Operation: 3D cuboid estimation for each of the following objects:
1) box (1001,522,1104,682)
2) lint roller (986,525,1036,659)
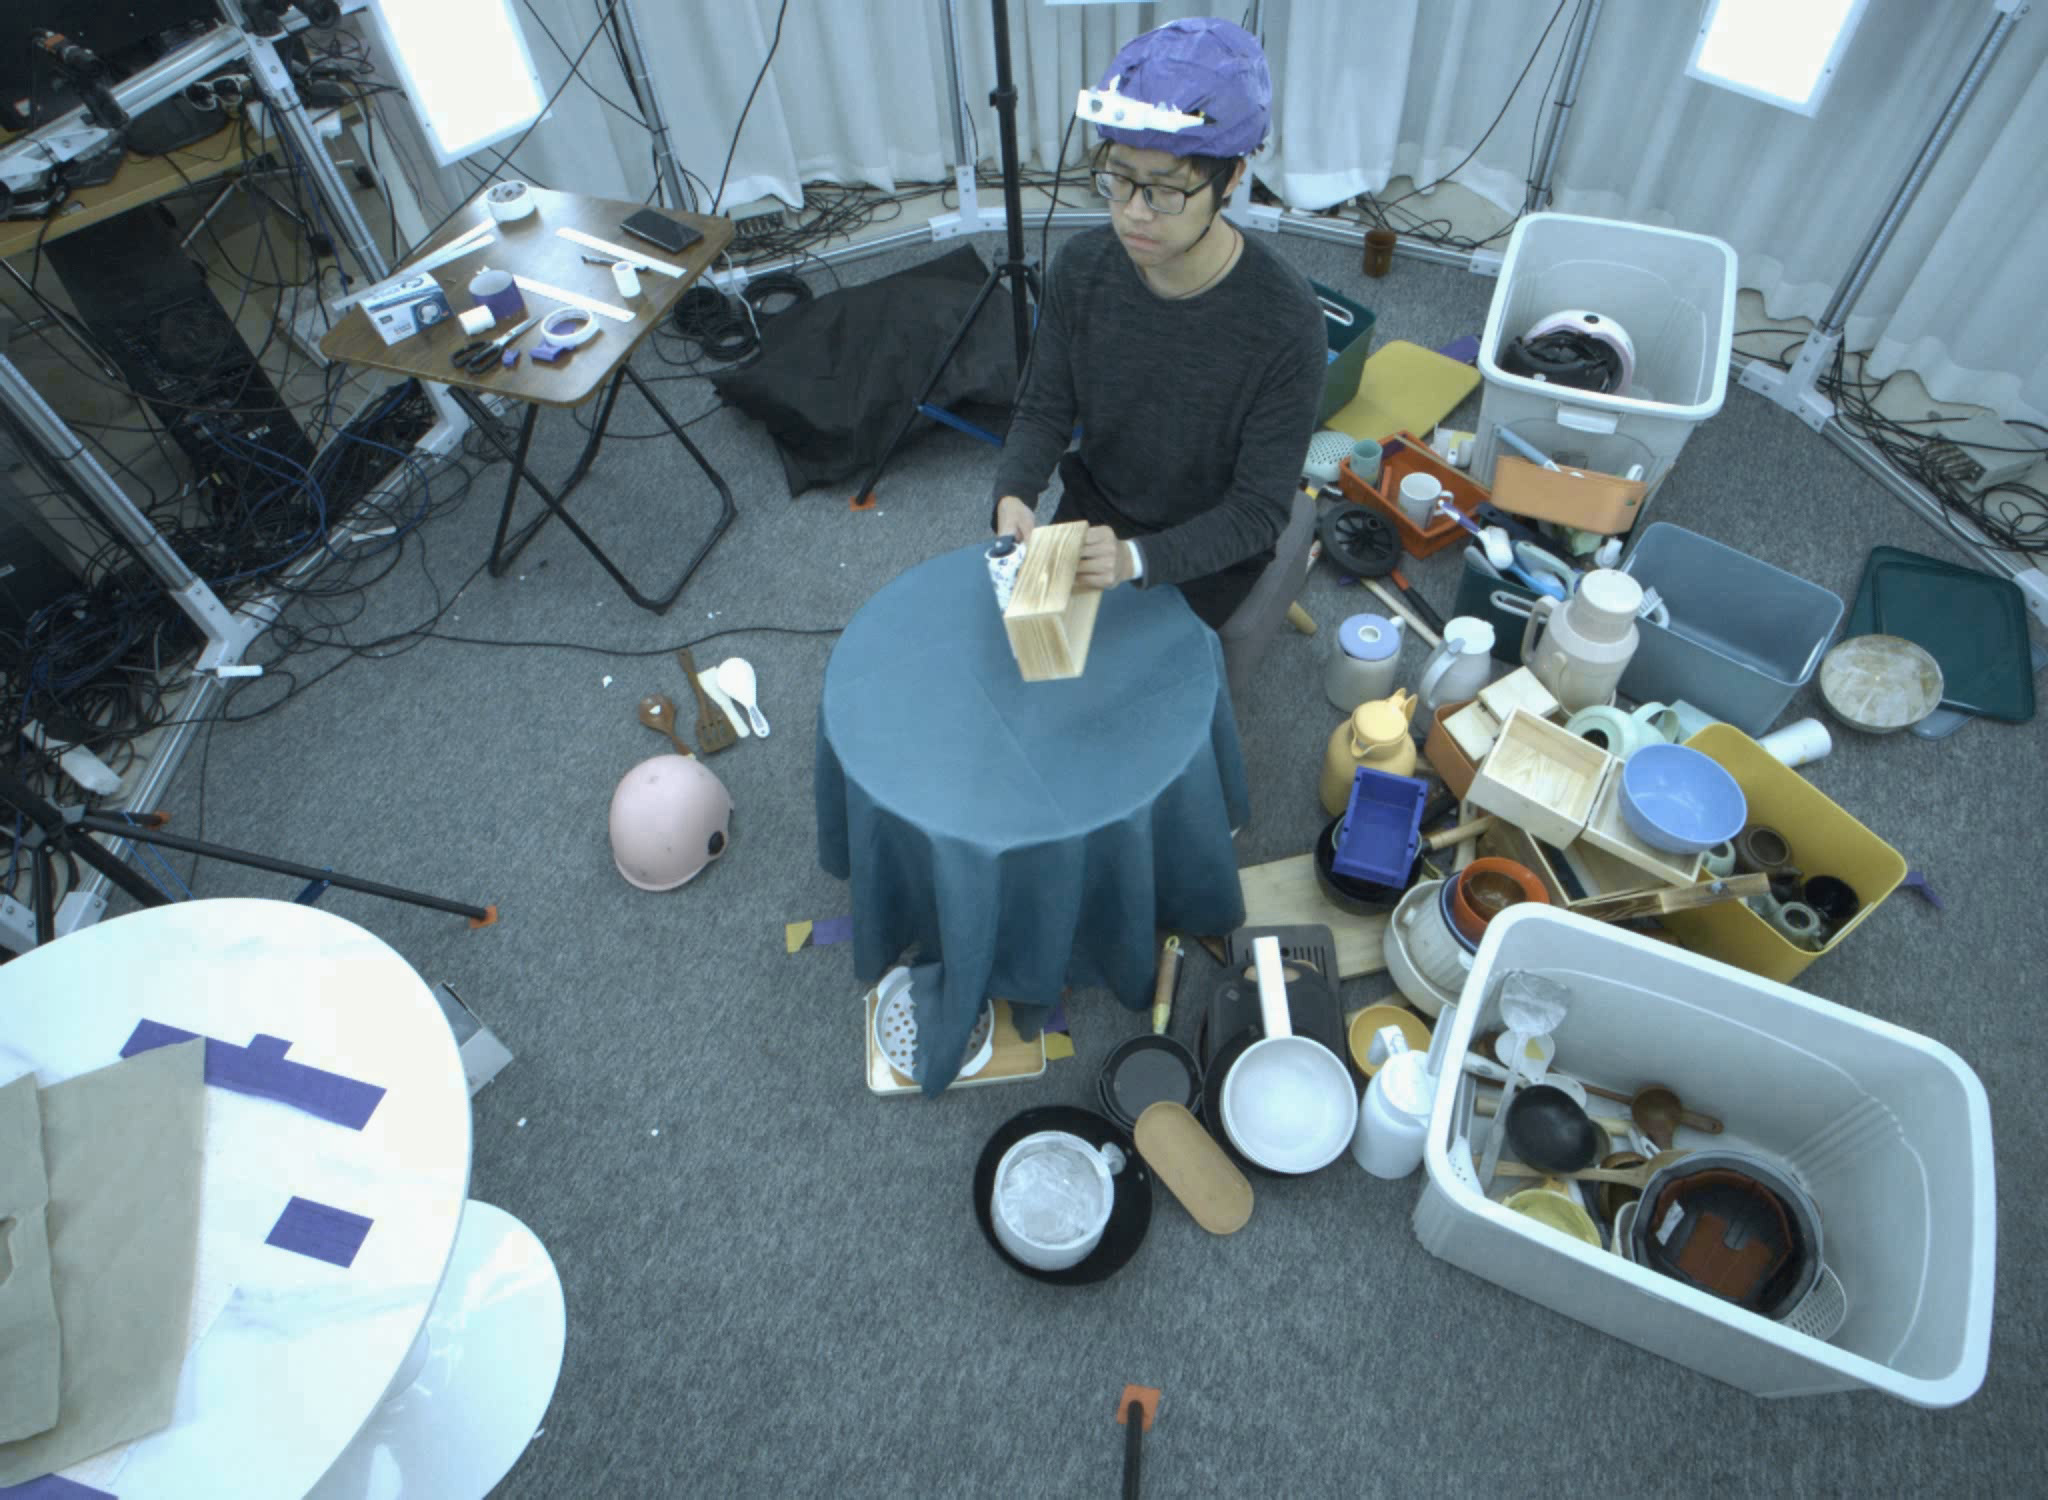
[{"bbox_3d":[0.041,-0.200,1.639,0.079,0.109,0.210,-4,42,19],"label":"box"},{"bbox_3d":[-0.008,-0.259,1.761,0.050,0.179,0.244,-10,35,8],"label":"lint roller"}]
